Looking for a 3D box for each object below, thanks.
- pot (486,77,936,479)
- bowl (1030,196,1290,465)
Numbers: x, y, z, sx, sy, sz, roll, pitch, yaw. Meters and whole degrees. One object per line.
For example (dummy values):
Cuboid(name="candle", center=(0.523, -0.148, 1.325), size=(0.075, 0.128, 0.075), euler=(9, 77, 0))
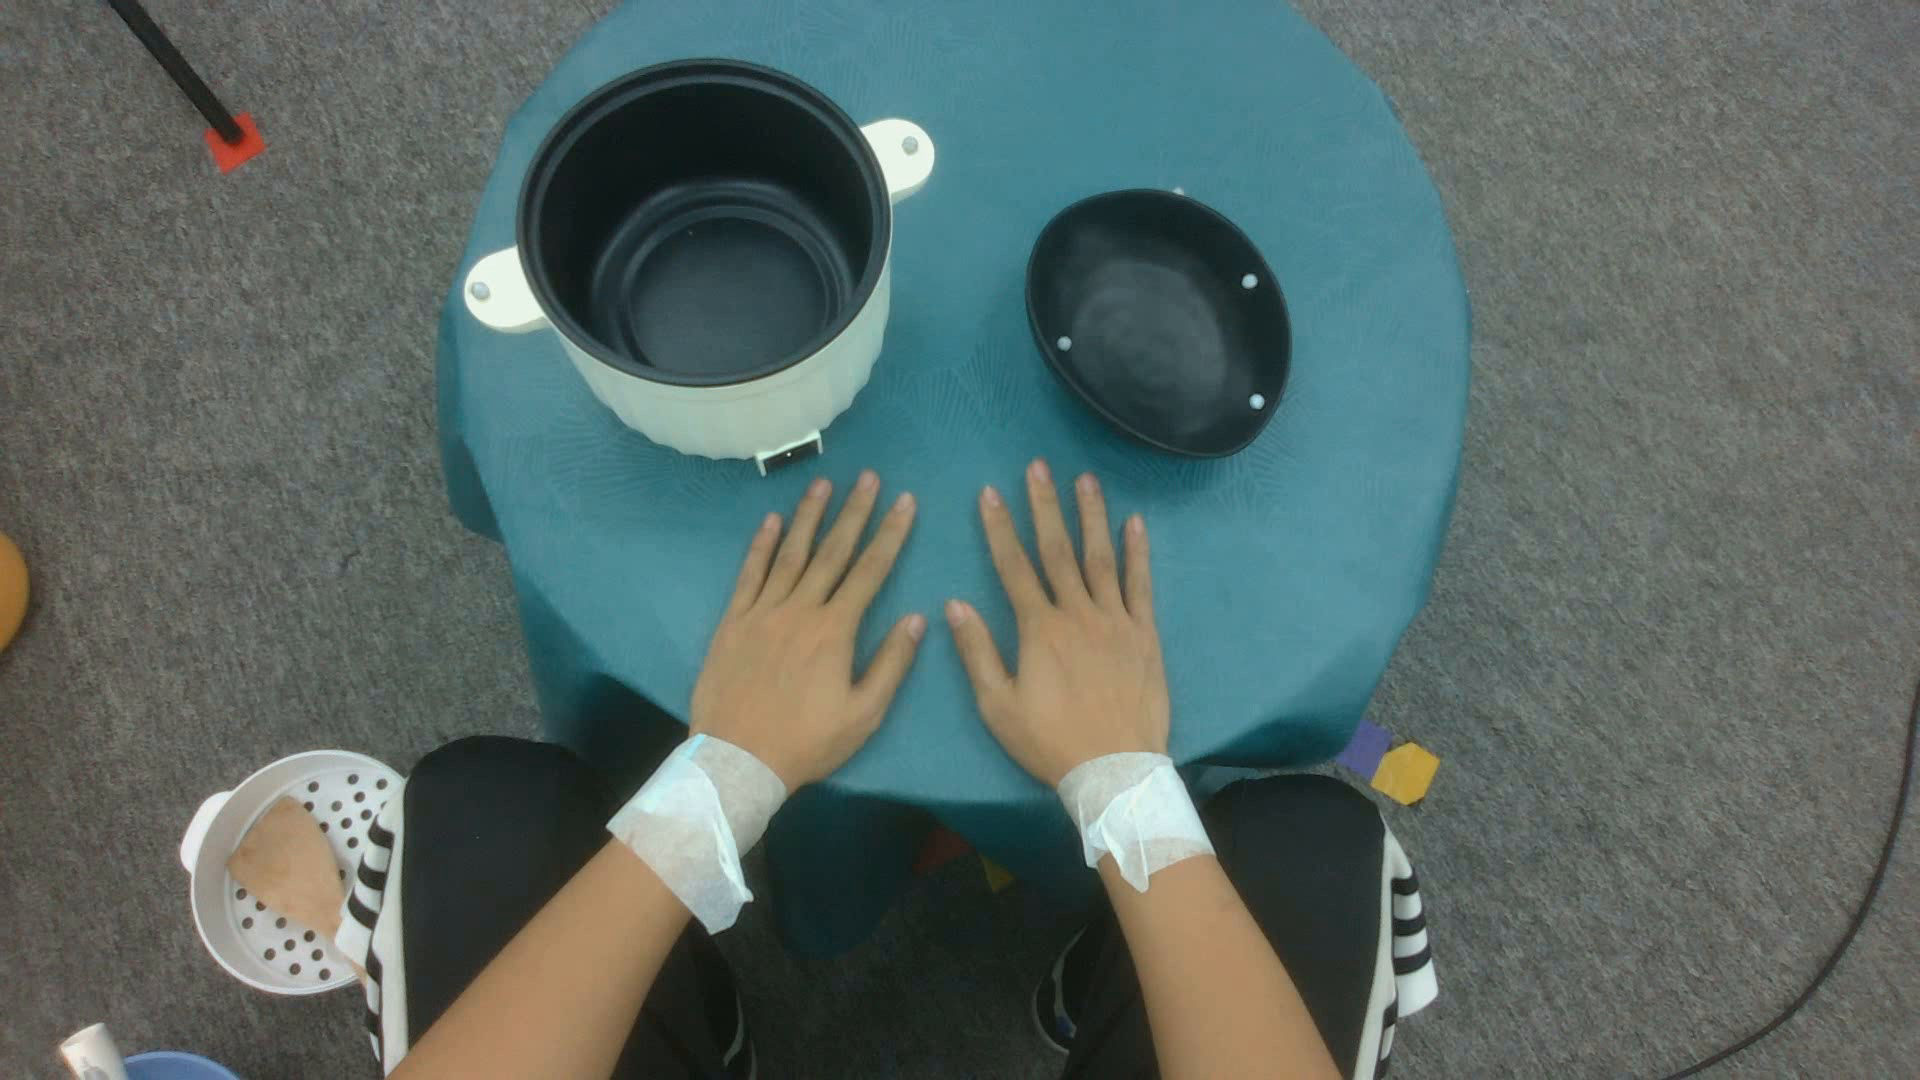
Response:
Cuboid(name="pot", center=(-0.128, -0.140, 0.753), size=(0.241, 0.142, 0.191), euler=(-23, 77, -10))
Cuboid(name="bowl", center=(0.113, -0.114, 0.794), size=(0.137, 0.066, 0.170), euler=(-33, 77, -11))
